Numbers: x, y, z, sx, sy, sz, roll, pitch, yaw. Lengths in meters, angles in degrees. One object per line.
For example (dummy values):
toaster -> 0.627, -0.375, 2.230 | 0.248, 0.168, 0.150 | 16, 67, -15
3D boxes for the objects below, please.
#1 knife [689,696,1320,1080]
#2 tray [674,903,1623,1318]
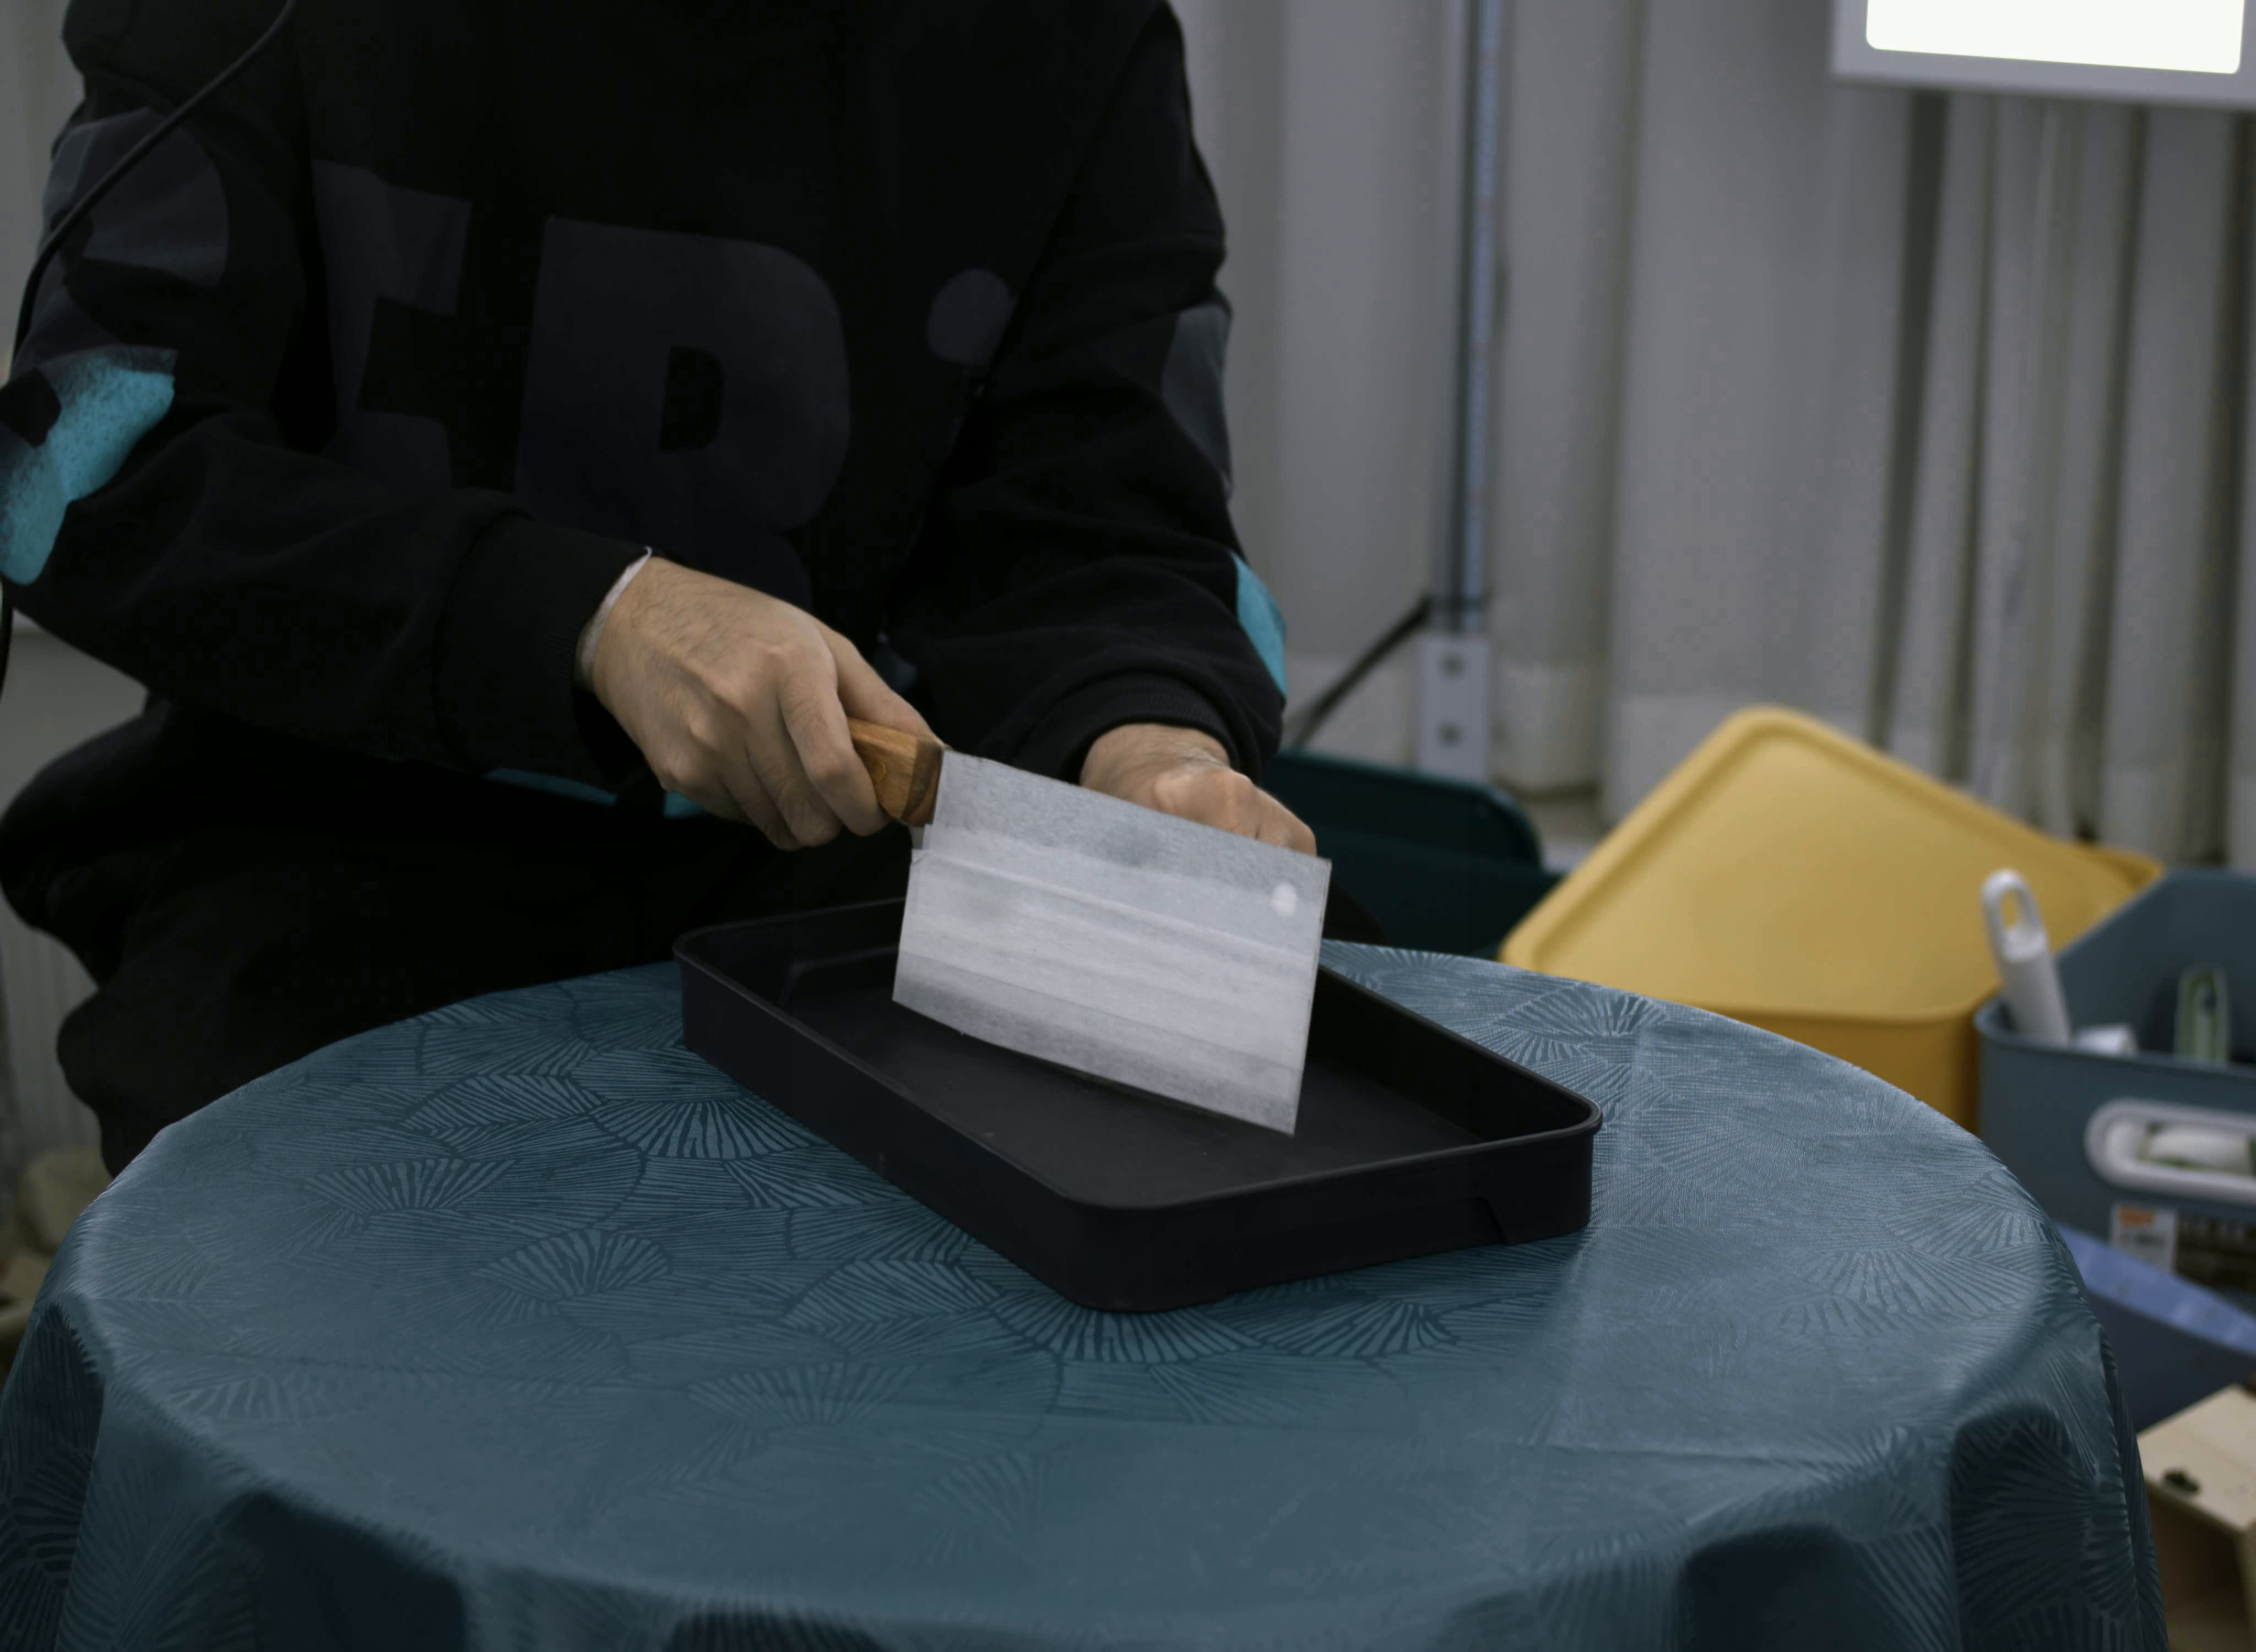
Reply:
knife -> -0.047, 0.021, 1.734 | 0.021, 0.093, 0.301 | -2, 13, -45
tray -> 0.000, 0.080, 1.673 | 0.185, 0.037, 0.314 | -9, 18, -30
